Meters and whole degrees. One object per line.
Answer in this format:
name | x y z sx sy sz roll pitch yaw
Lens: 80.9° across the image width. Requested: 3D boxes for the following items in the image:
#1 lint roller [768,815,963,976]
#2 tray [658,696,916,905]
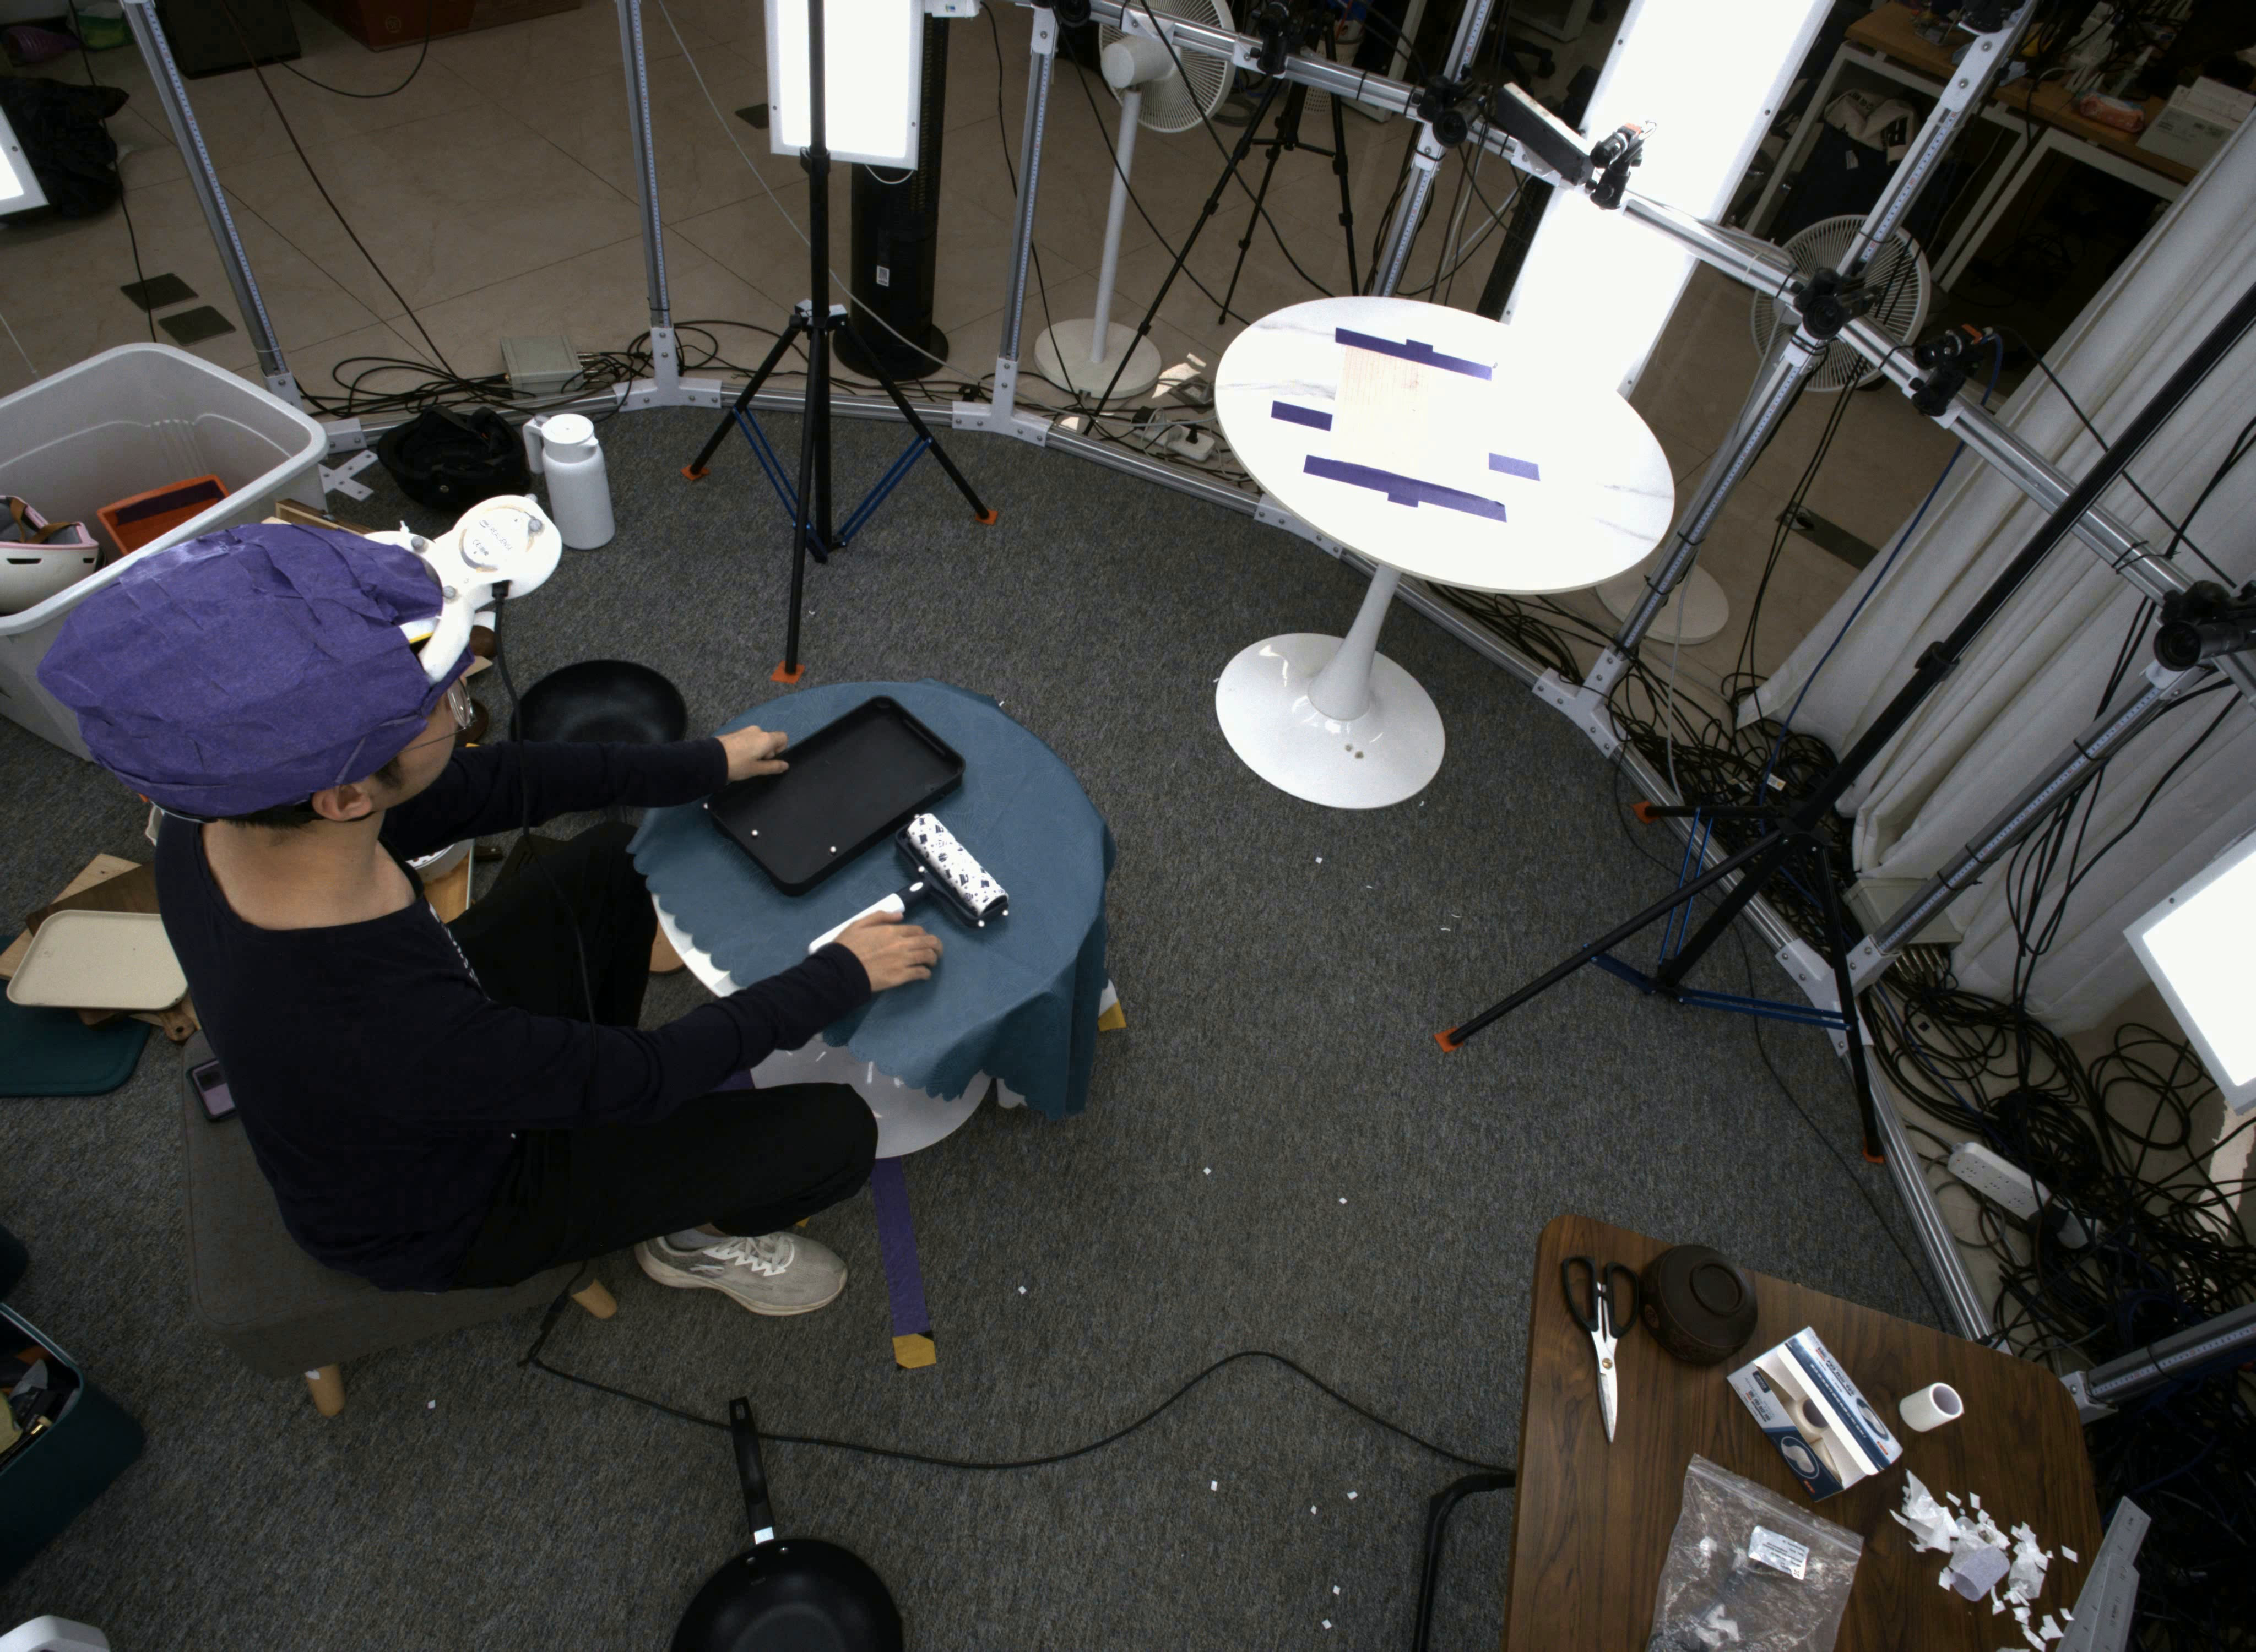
lint roller | -0.352 0.106 1.650 0.172 0.051 0.247 42 59 17
tray | -0.451 -0.042 1.735 0.180 0.038 0.318 38 54 14
